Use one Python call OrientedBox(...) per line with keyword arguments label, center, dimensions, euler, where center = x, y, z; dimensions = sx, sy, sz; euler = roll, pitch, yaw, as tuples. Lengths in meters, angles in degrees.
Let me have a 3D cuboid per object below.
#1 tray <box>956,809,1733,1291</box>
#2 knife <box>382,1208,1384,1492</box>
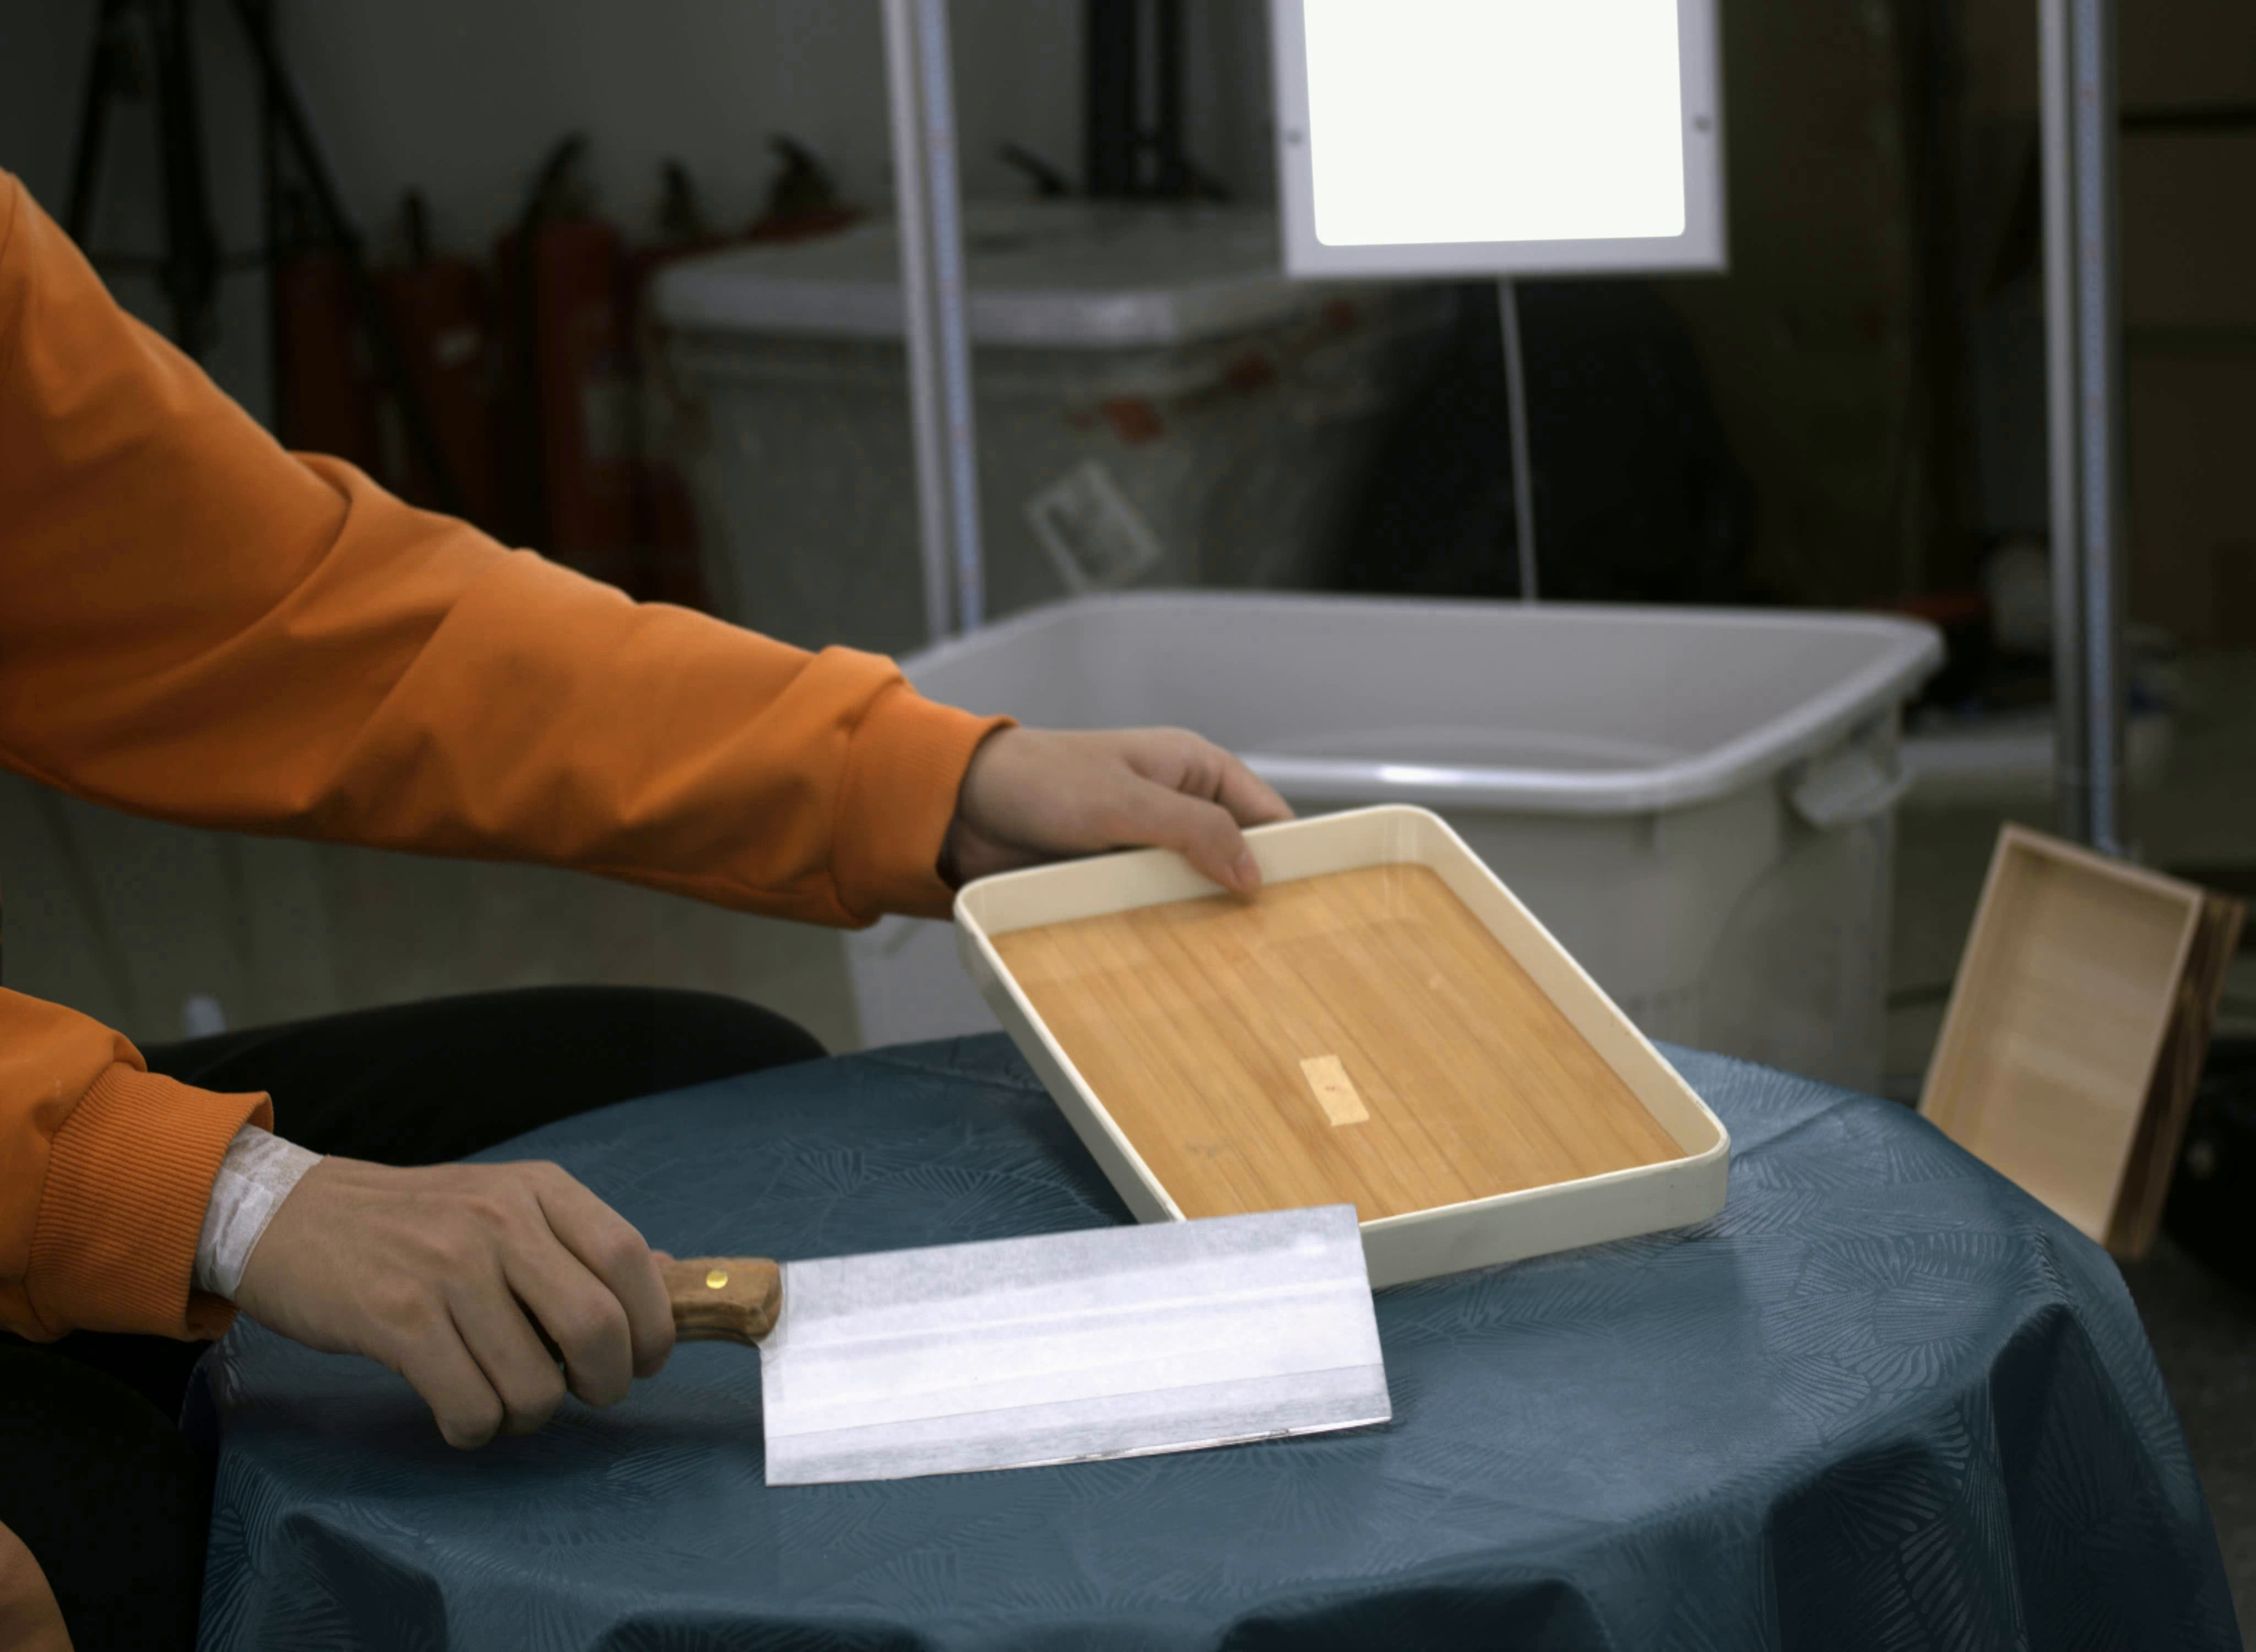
OrientedBox(label="tray", center=(0.069, 0.075, 1.902), dimensions=(0.189, 0.027, 0.303), euler=(-11, 25, -14))
OrientedBox(label="knife", center=(-0.075, 0.164, 1.680), dimensions=(0.305, 0.021, 0.093), euler=(-6, 42, 0))
